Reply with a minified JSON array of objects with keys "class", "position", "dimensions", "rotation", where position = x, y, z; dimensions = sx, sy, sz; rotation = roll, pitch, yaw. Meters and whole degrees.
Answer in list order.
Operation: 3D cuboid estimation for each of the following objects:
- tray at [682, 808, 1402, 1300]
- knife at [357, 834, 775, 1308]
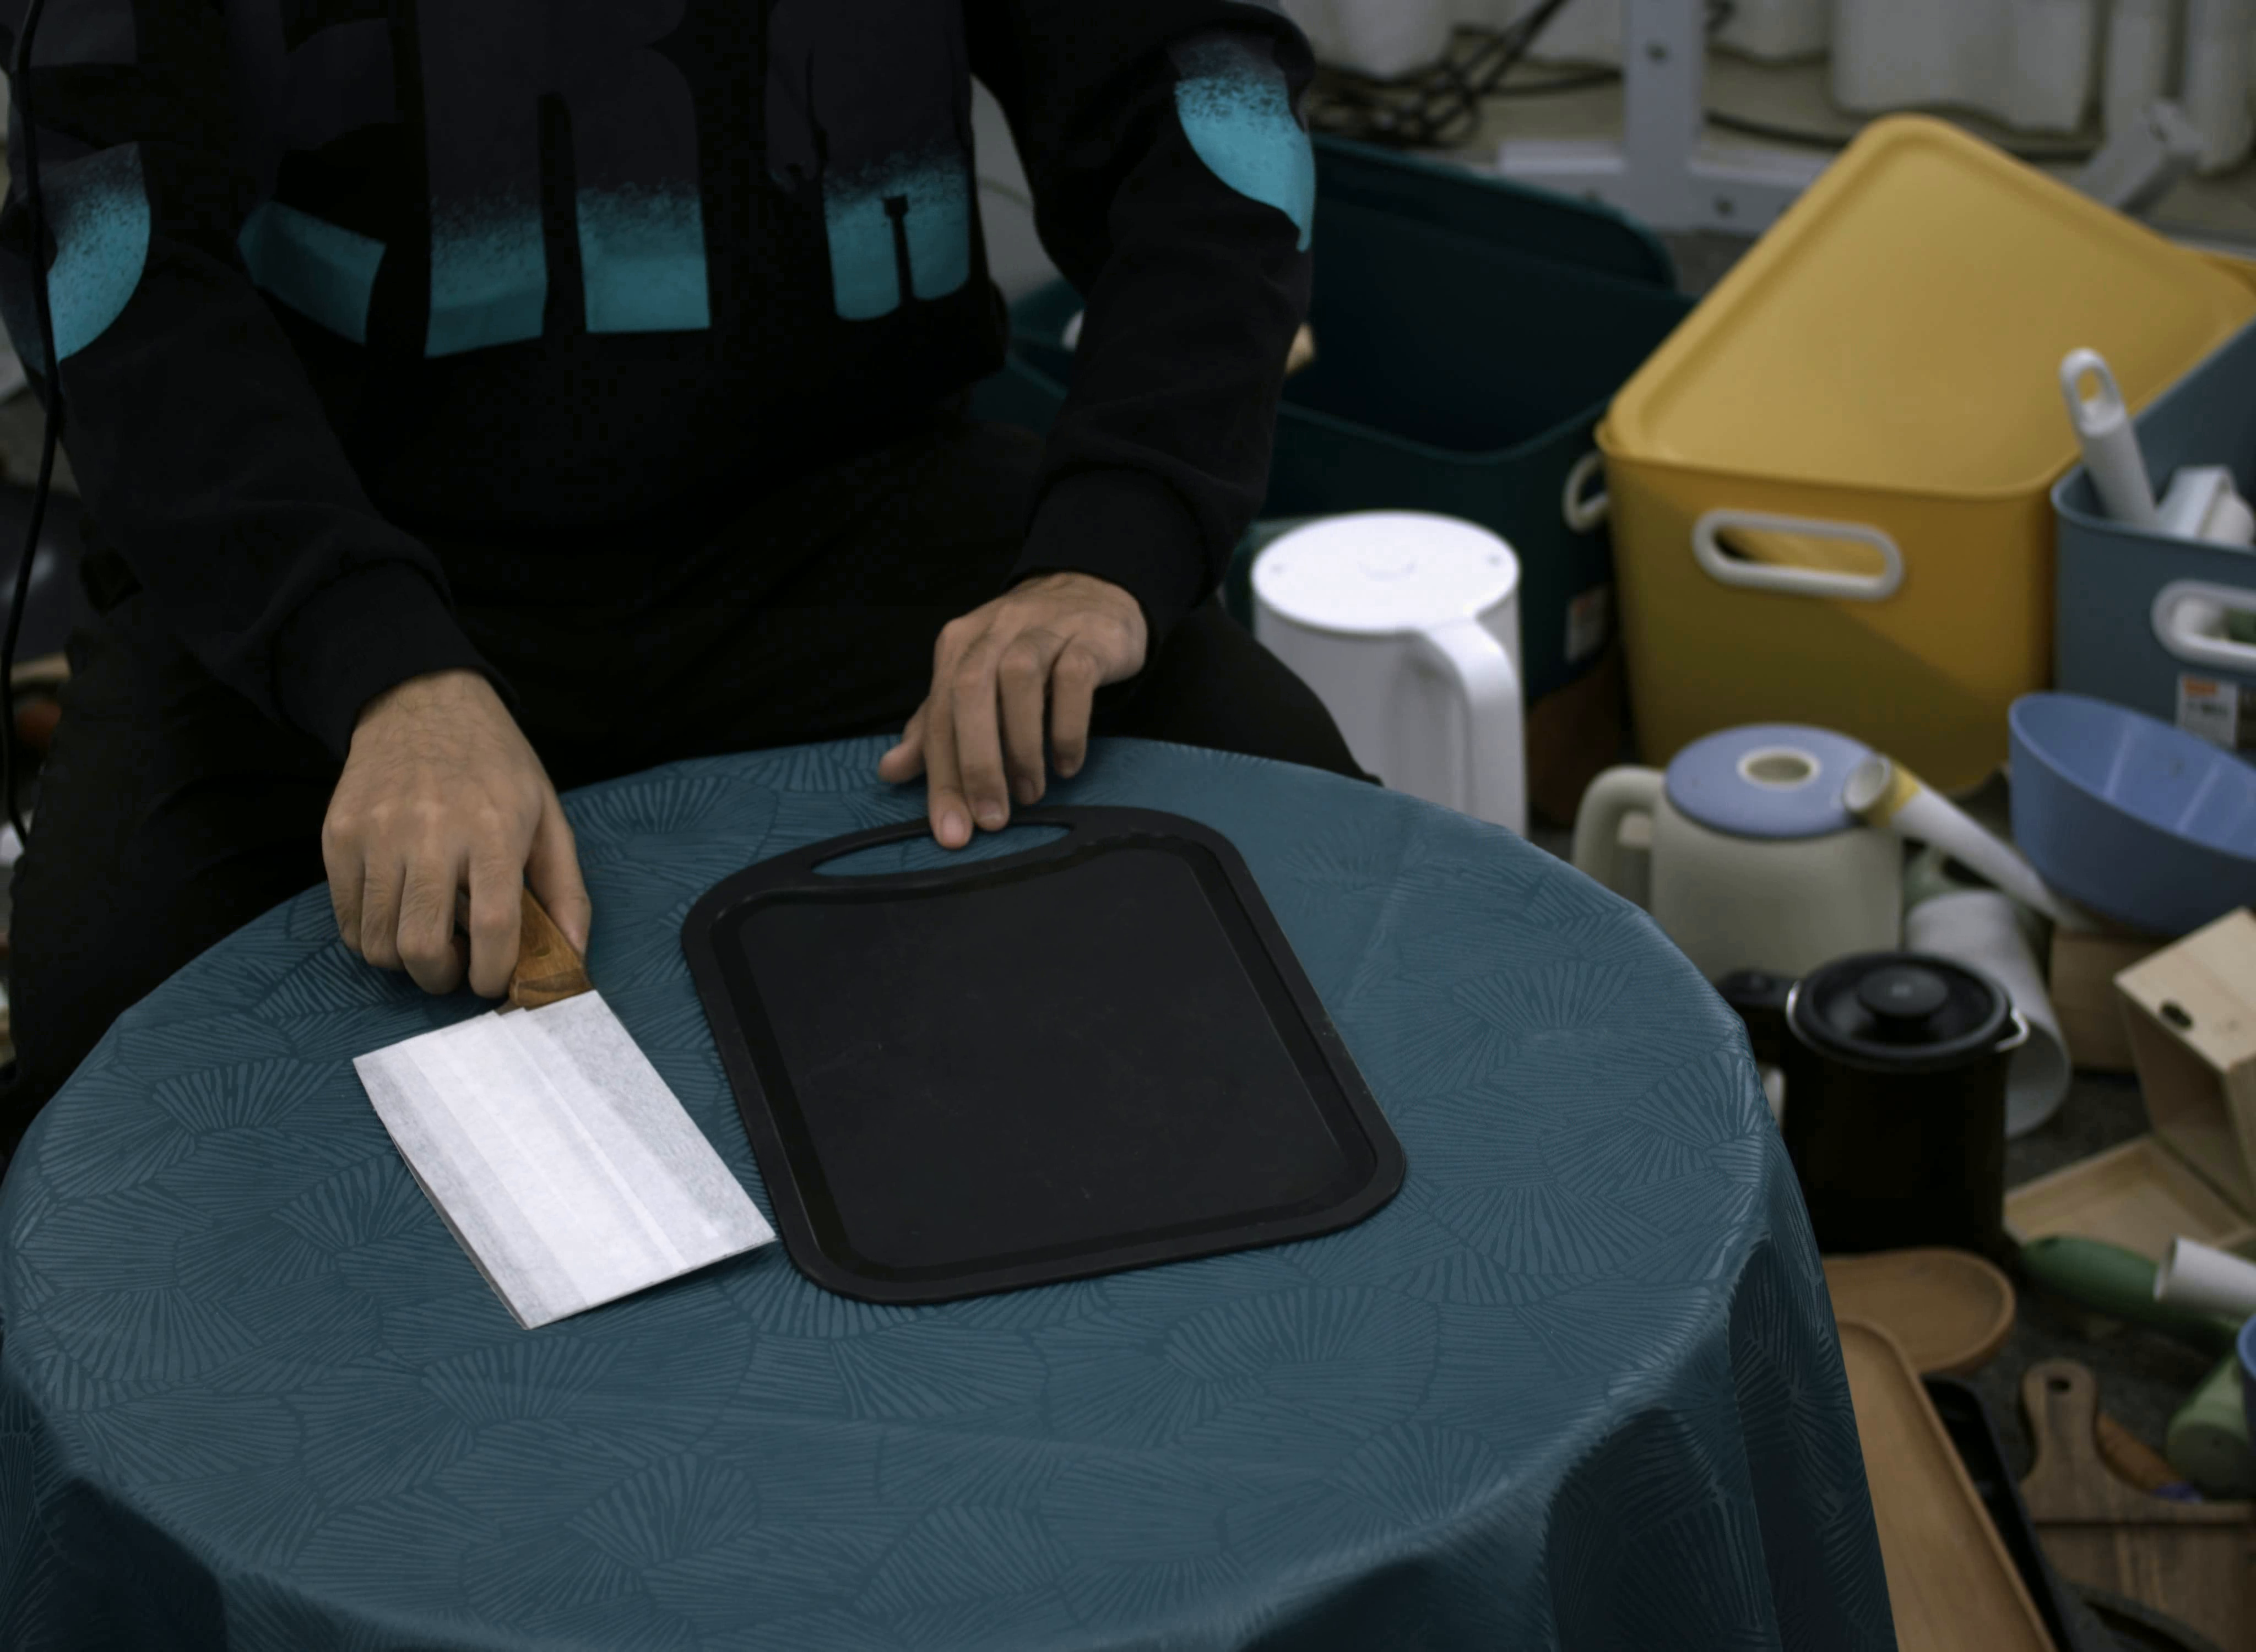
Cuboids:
[{"class":"tray","position":[-0.038,0.070,1.957],"dimensions":[0.211,0.009,0.329],"rotation":[-8,28,-10]},{"class":"knife","position":[-0.214,0.084,1.940],"dimensions":[0.093,0.021,0.308],"rotation":[-19,32,-17]}]
